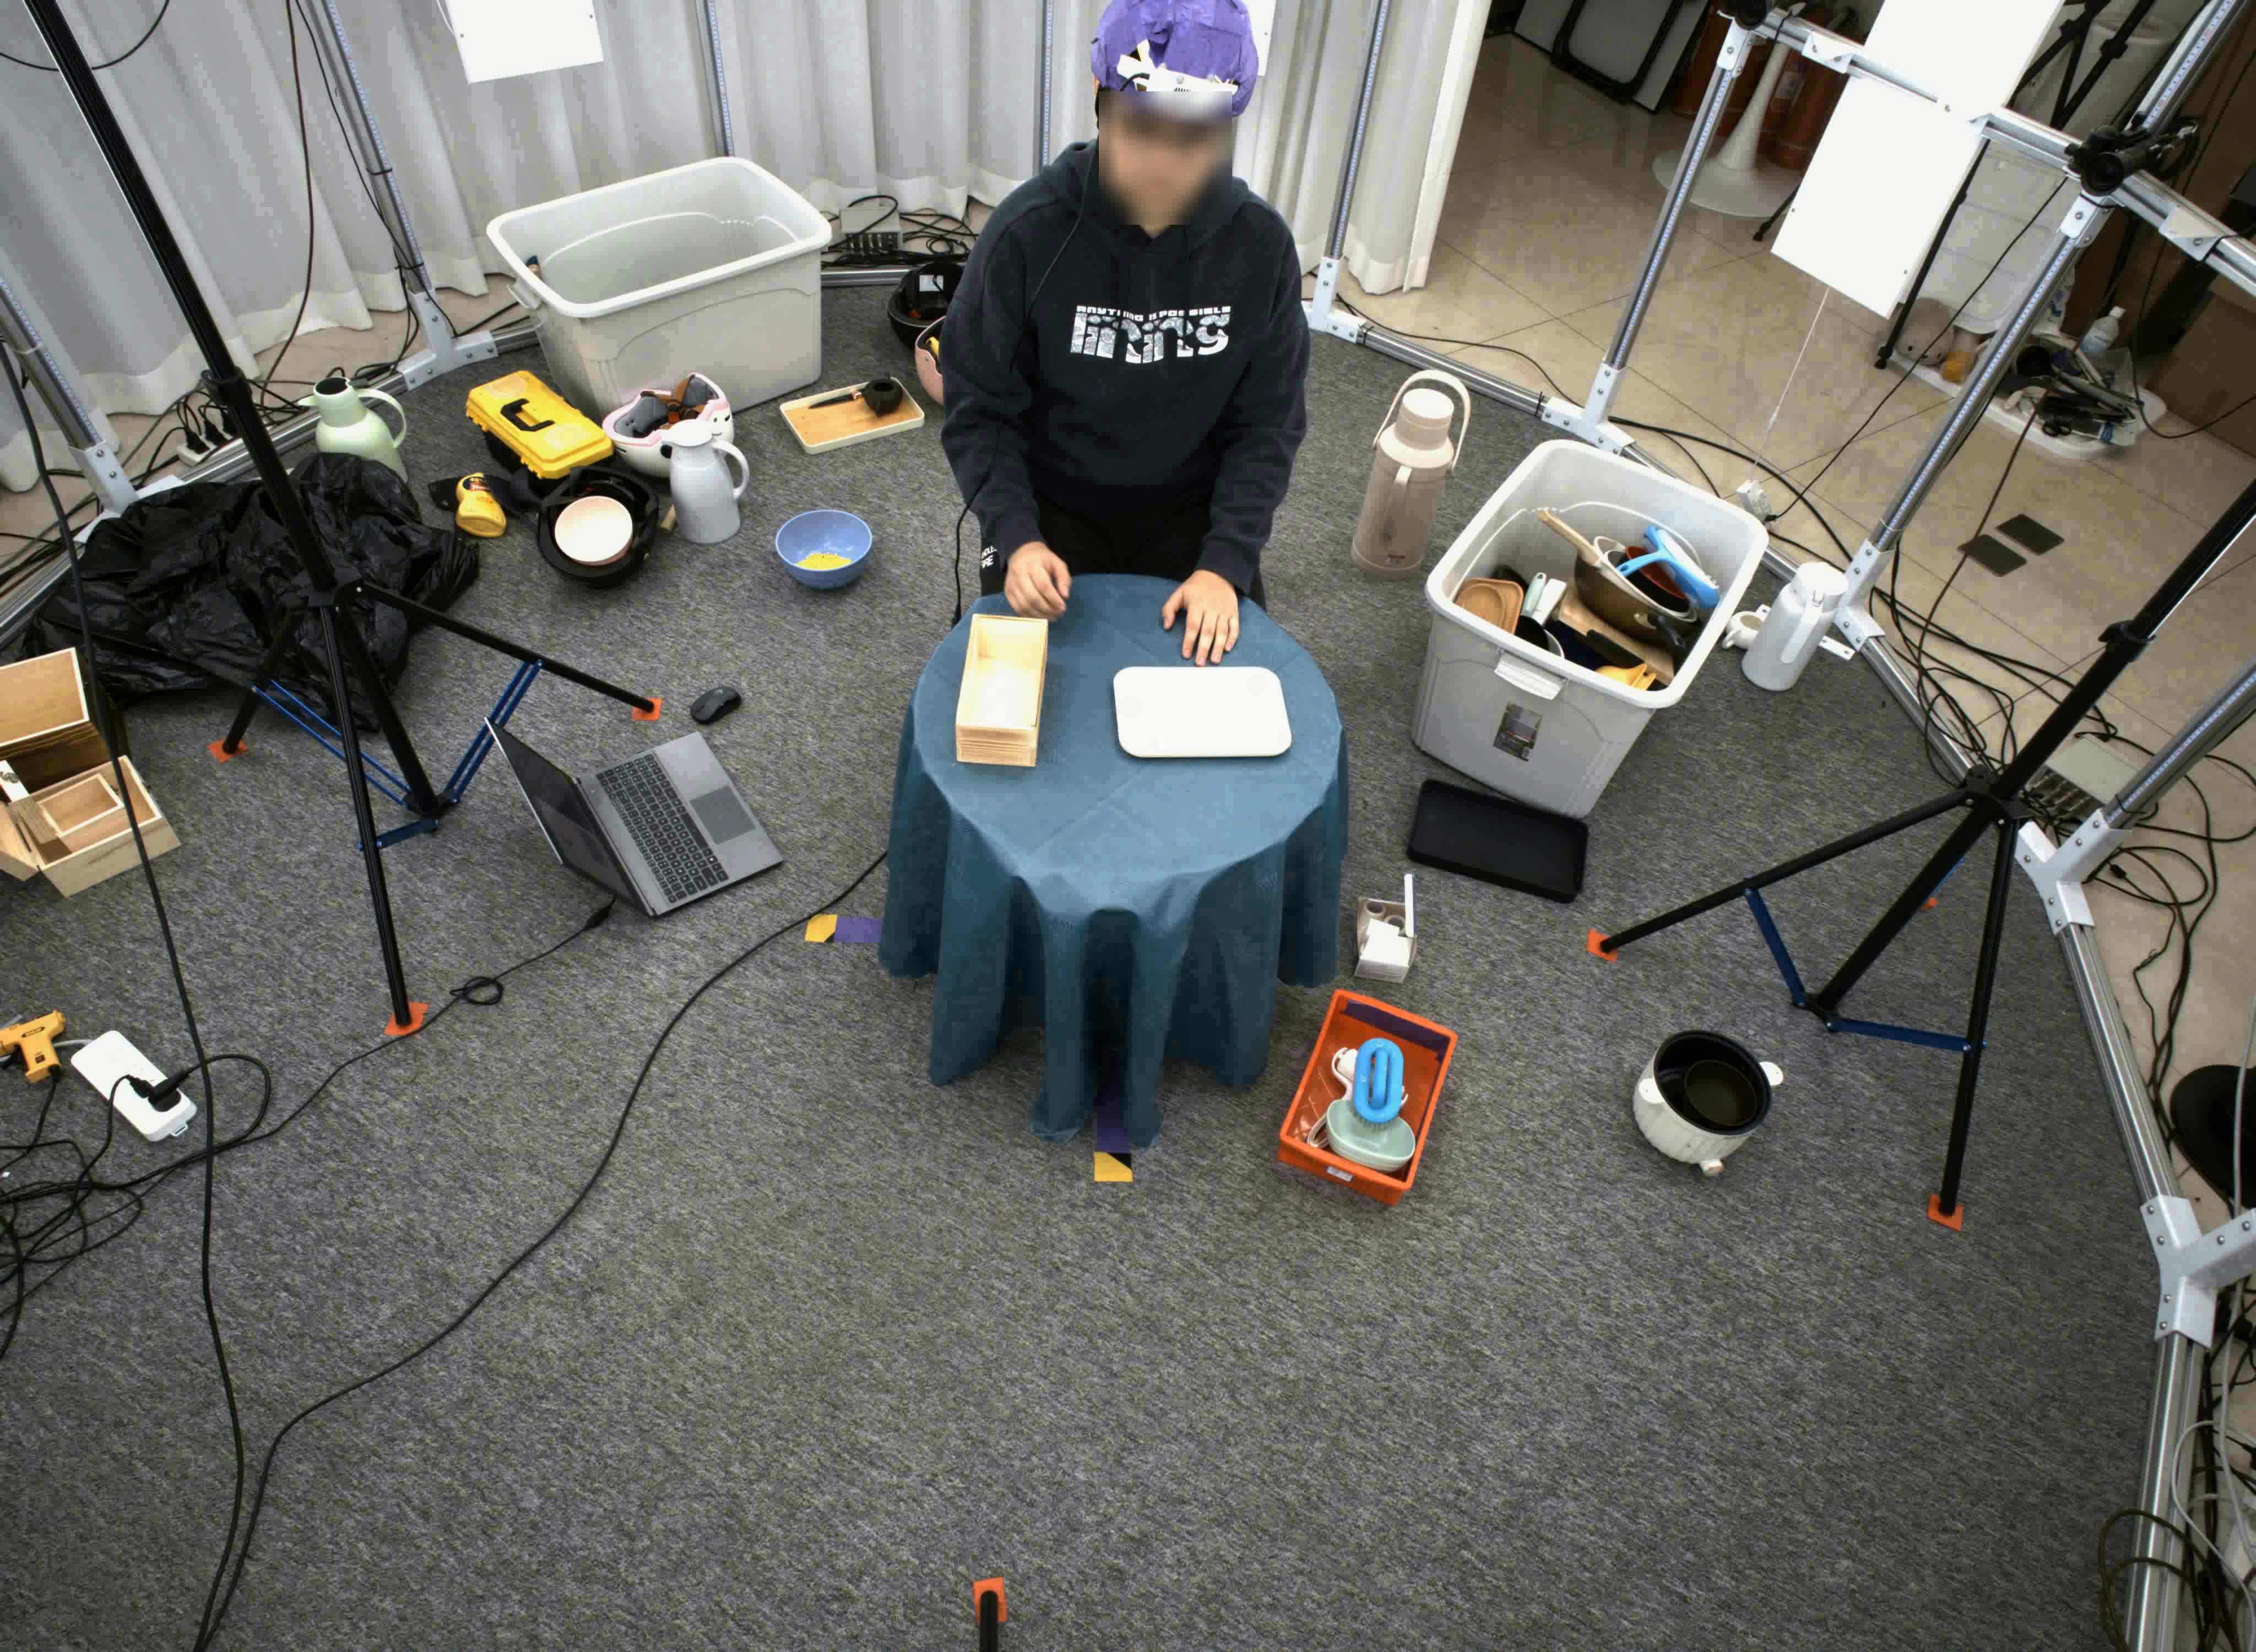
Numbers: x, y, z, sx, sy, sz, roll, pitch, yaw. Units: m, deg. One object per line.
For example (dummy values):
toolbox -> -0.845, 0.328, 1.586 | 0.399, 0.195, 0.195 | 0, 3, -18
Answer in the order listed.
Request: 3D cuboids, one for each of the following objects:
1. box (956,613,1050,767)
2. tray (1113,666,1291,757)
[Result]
box -> -0.169, -0.189, 1.765 | 0.107, 0.078, 0.216 | 4, 49, -2
tray -> 0.102, -0.161, 1.801 | 0.239, 0.017, 0.175 | -1, 49, -5
